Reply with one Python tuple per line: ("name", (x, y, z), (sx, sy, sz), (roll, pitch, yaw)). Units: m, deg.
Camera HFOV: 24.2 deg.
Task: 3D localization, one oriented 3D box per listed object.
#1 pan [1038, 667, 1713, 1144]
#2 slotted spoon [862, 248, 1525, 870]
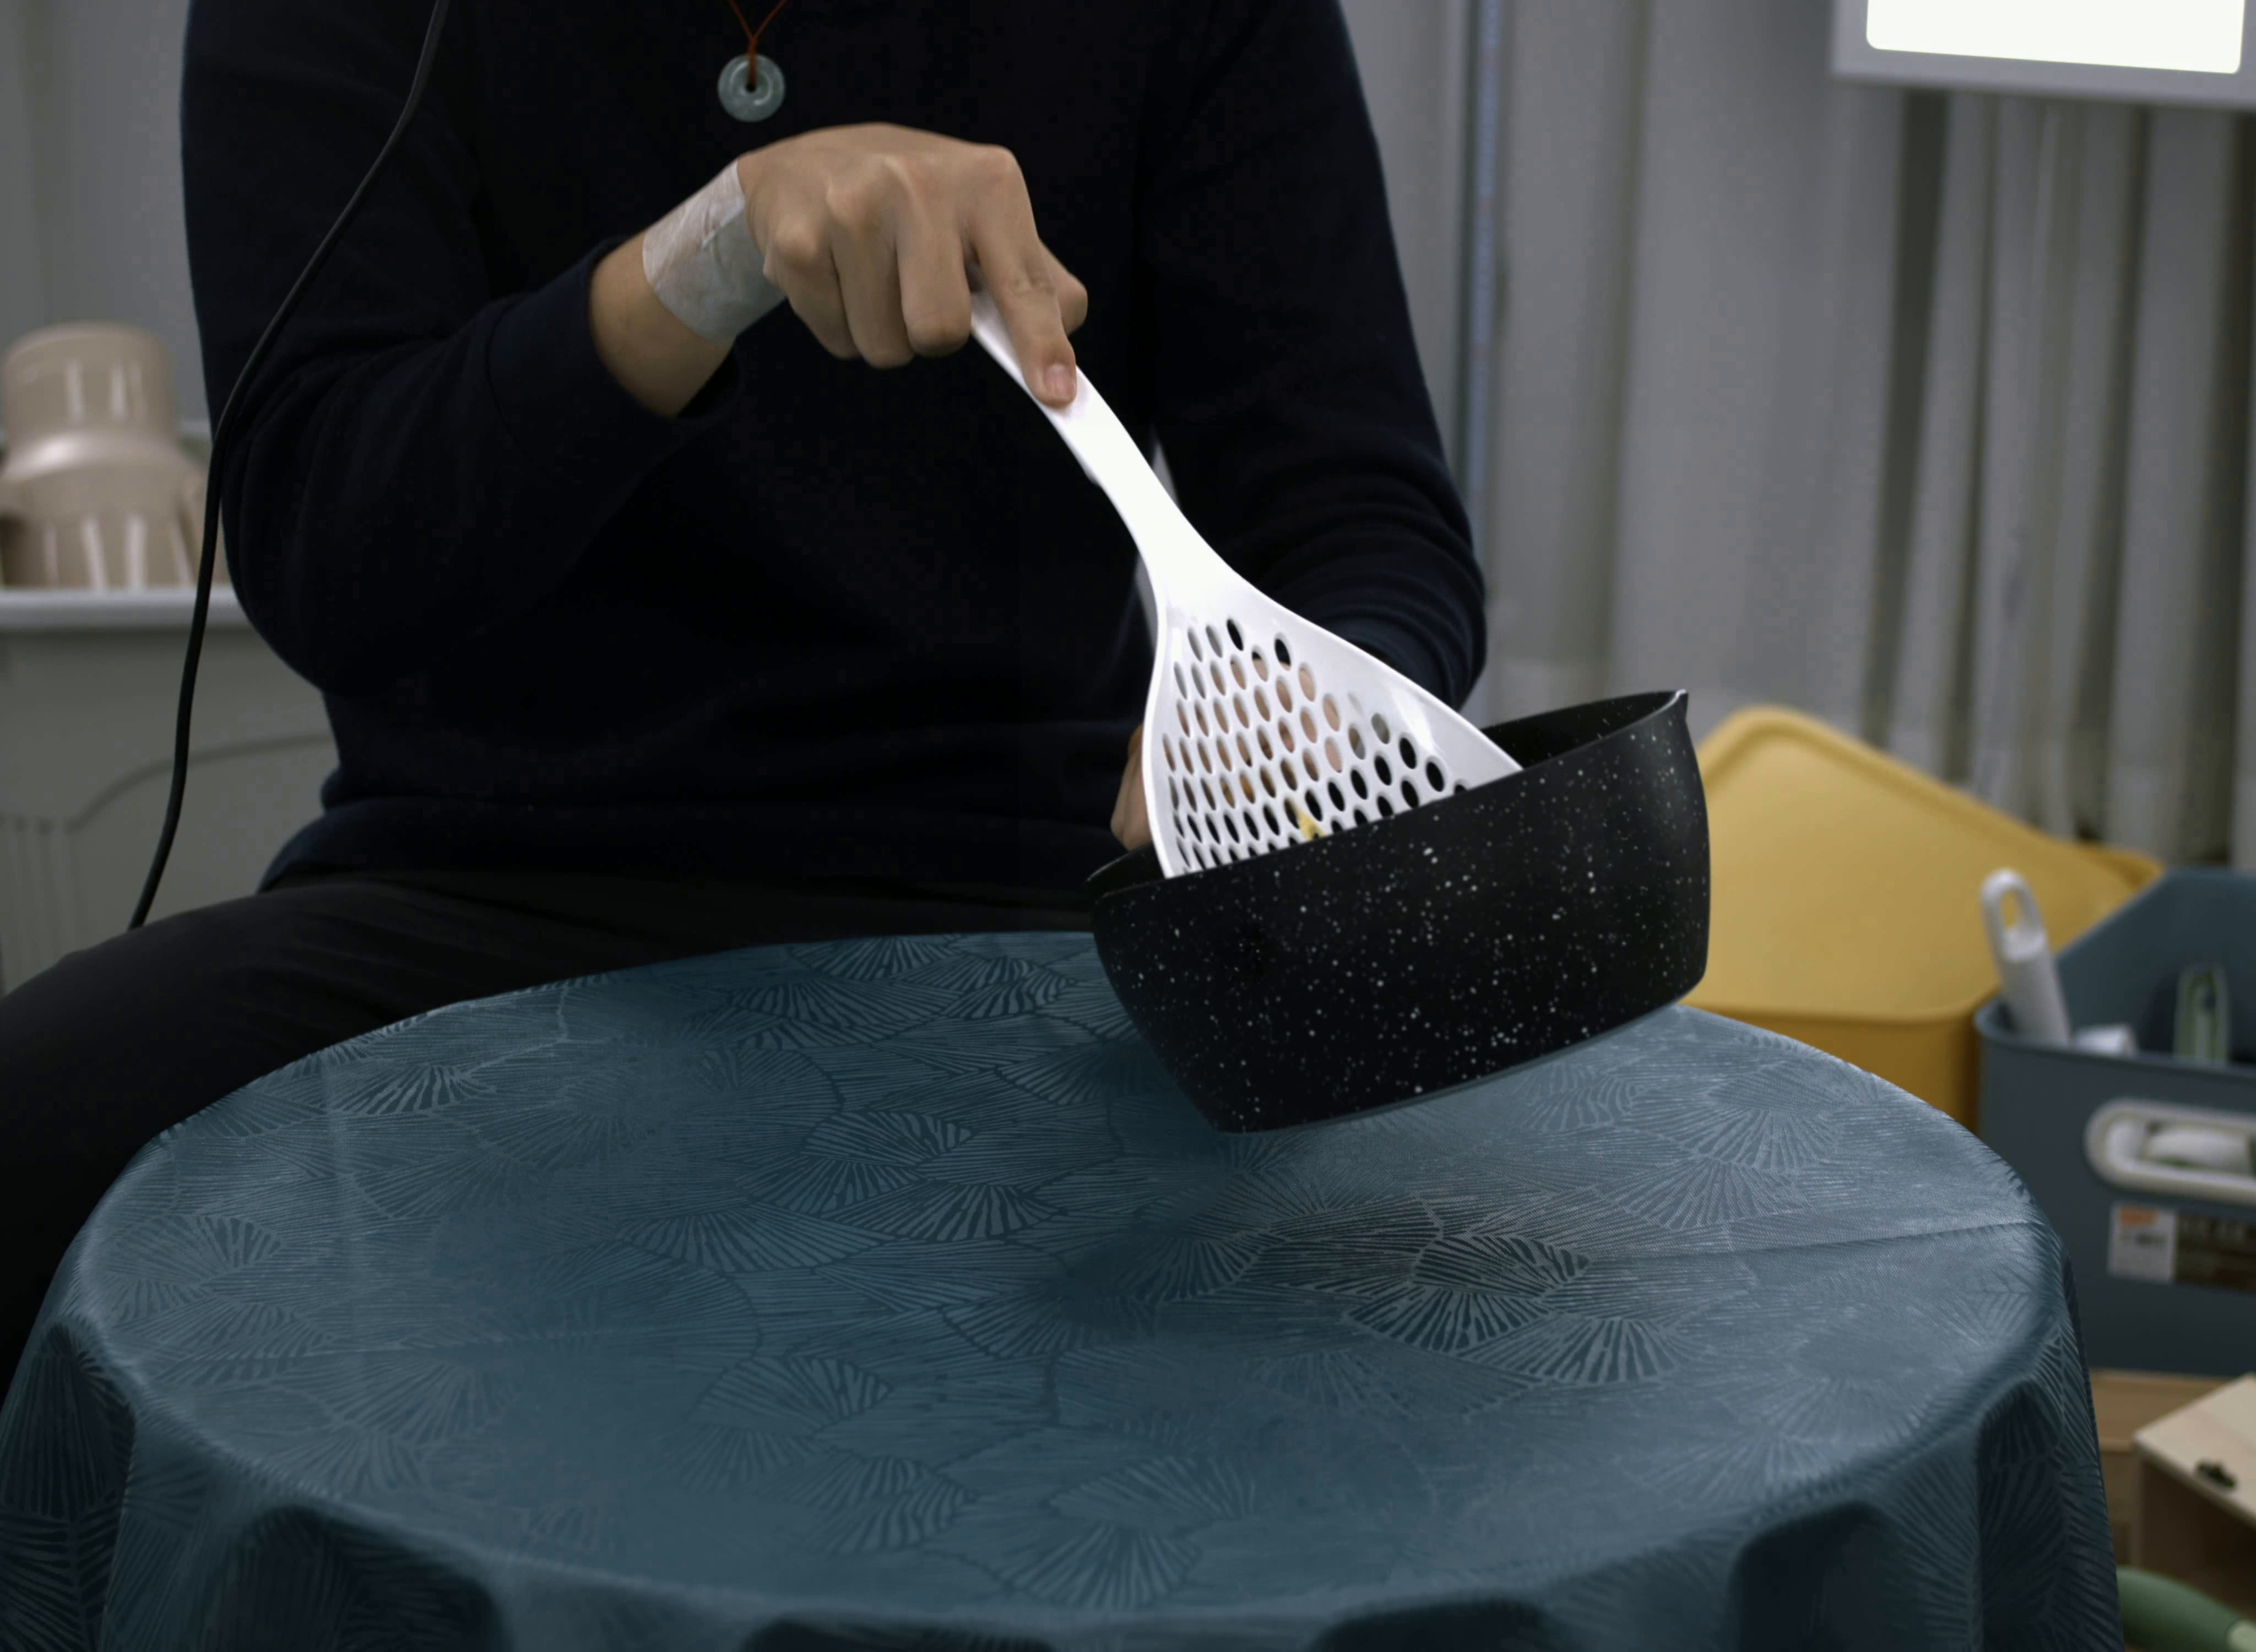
("pan", (0.061, 0.015, 1.620), (0.207, 0.109, 0.341), (-20, 7, -14))
("slotted spoon", (0.018, -0.064, 1.614), (0.137, 0.050, 0.345), (-20, 66, -29))
